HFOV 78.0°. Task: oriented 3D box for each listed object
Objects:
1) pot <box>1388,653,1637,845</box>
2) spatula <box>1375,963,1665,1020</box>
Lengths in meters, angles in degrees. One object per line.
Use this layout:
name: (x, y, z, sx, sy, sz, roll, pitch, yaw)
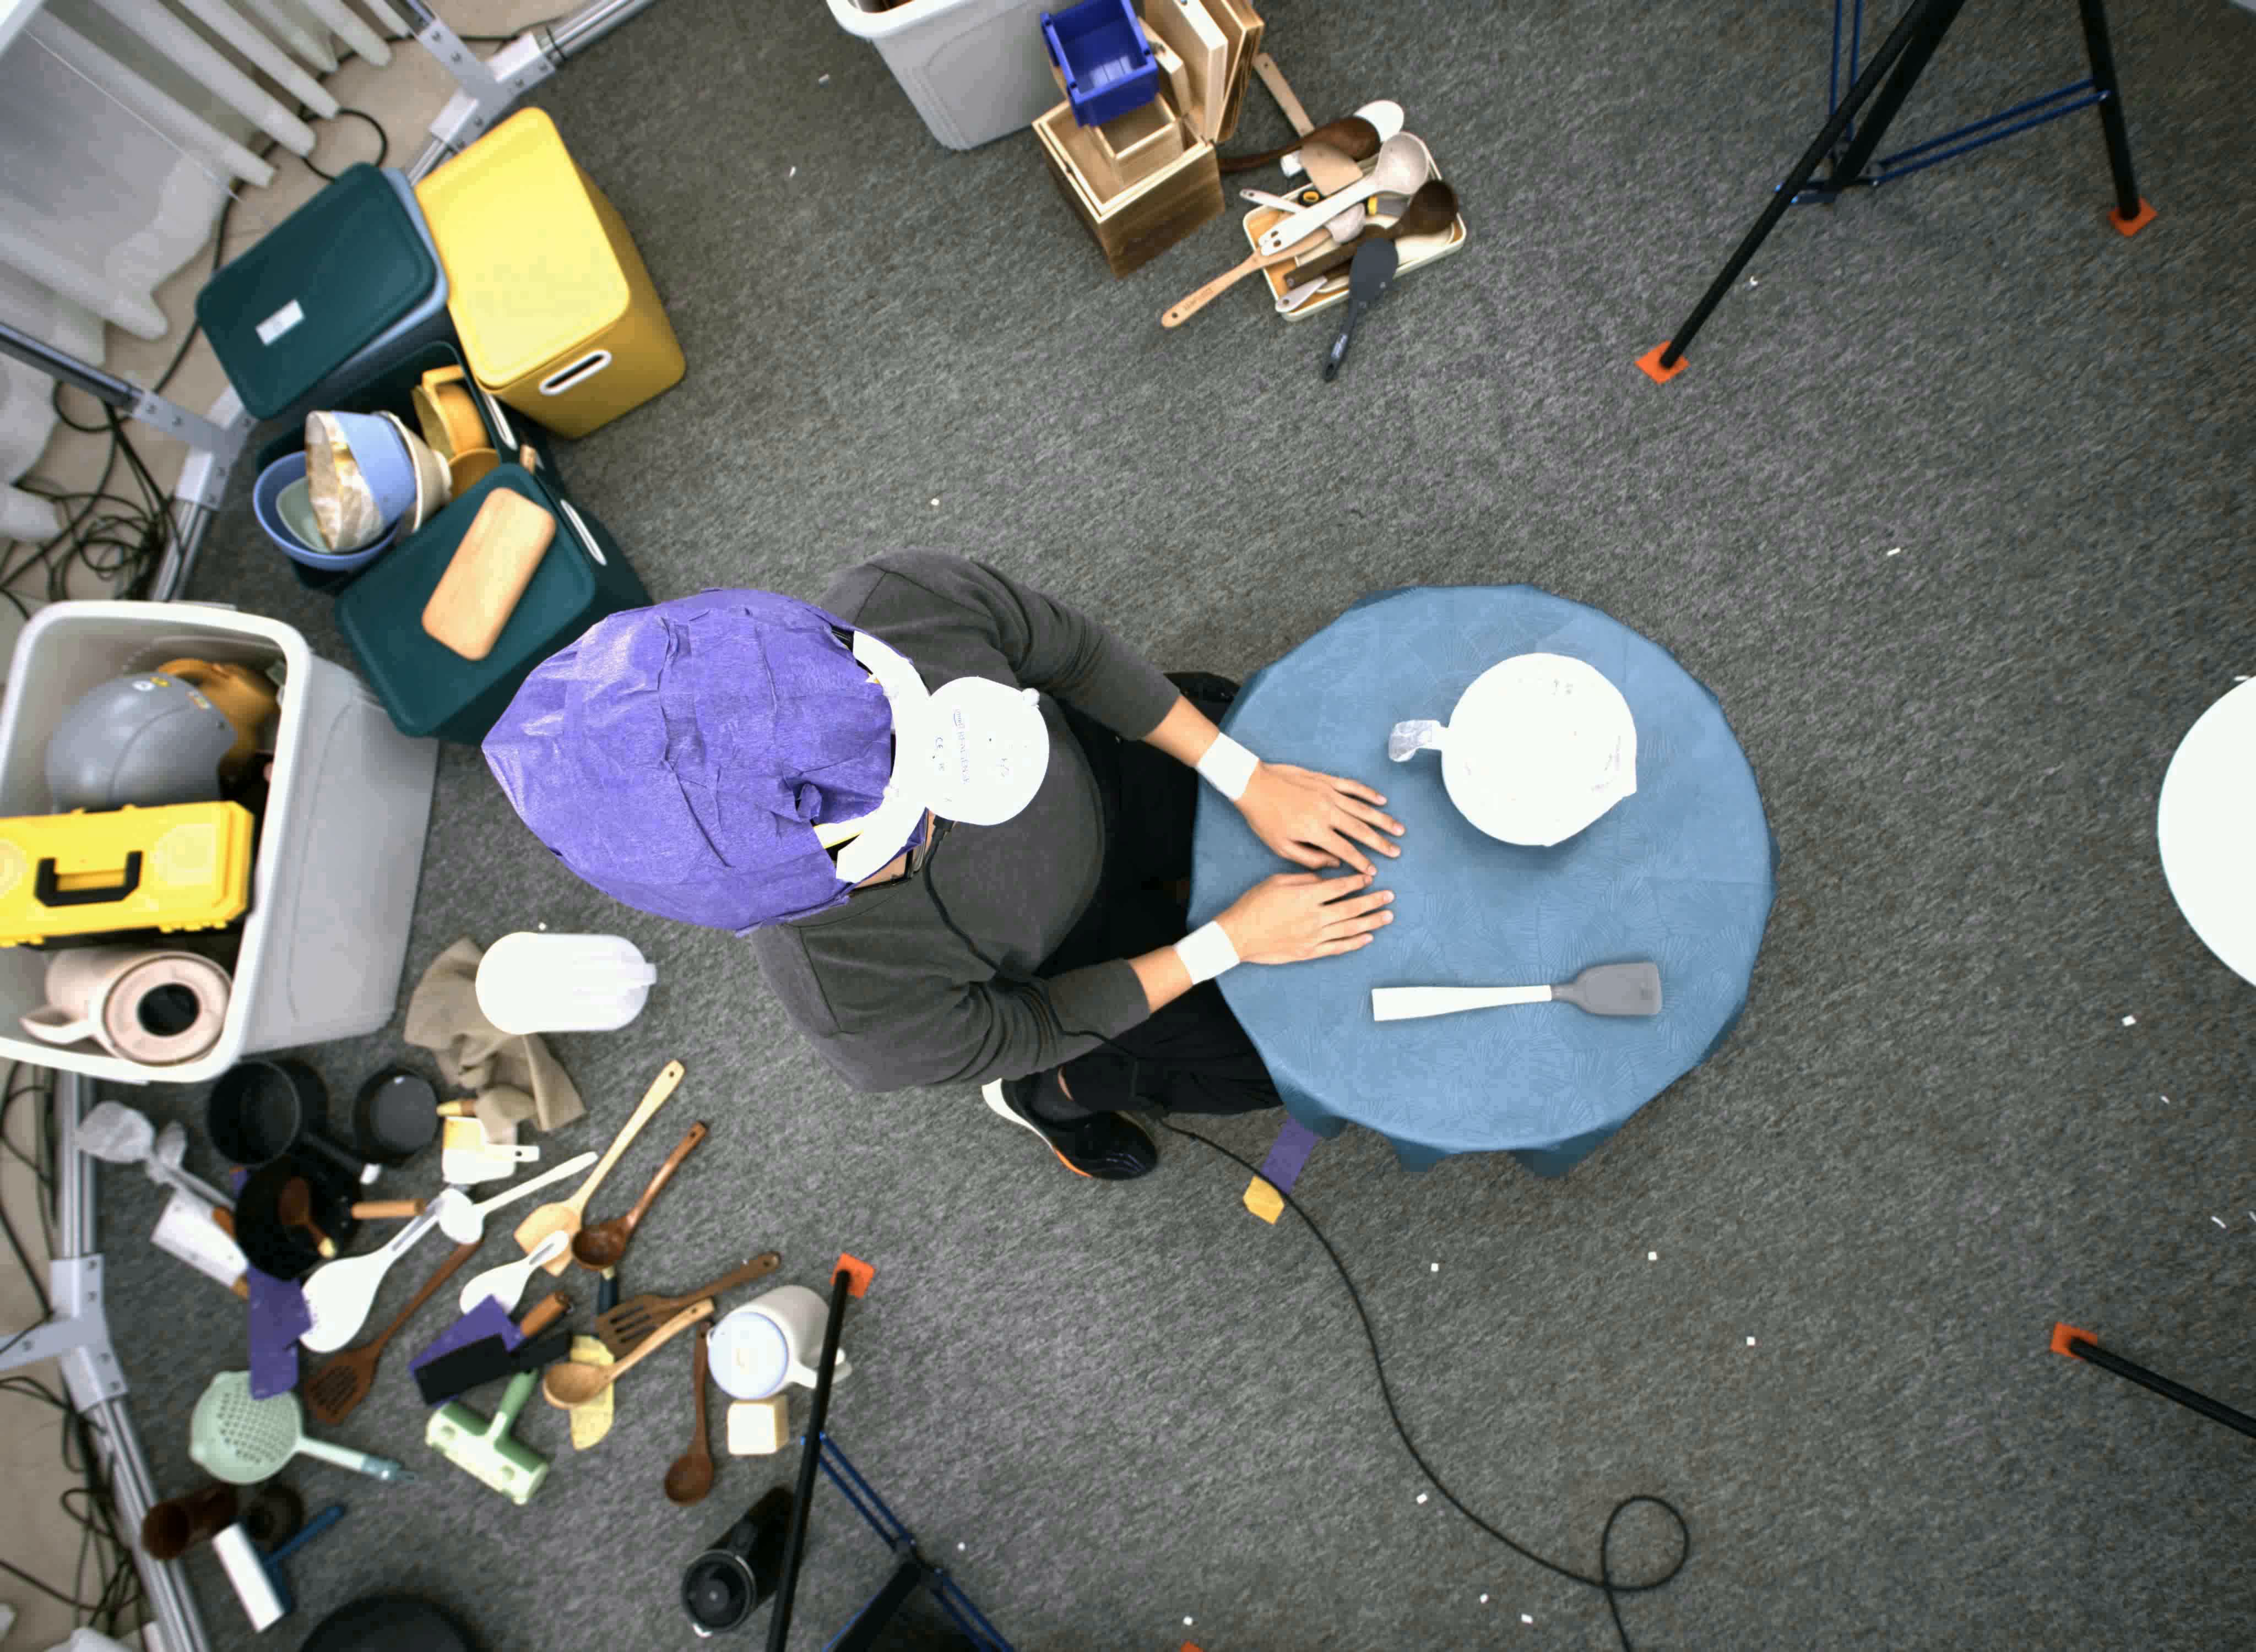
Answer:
pot: (0.380, -0.078, 1.378, 0.234, 0.137, 0.178, 7, 87, 11)
spatula: (0.400, 0.173, 1.413, 0.289, 0.032, 0.058, -4, 82, 11)
